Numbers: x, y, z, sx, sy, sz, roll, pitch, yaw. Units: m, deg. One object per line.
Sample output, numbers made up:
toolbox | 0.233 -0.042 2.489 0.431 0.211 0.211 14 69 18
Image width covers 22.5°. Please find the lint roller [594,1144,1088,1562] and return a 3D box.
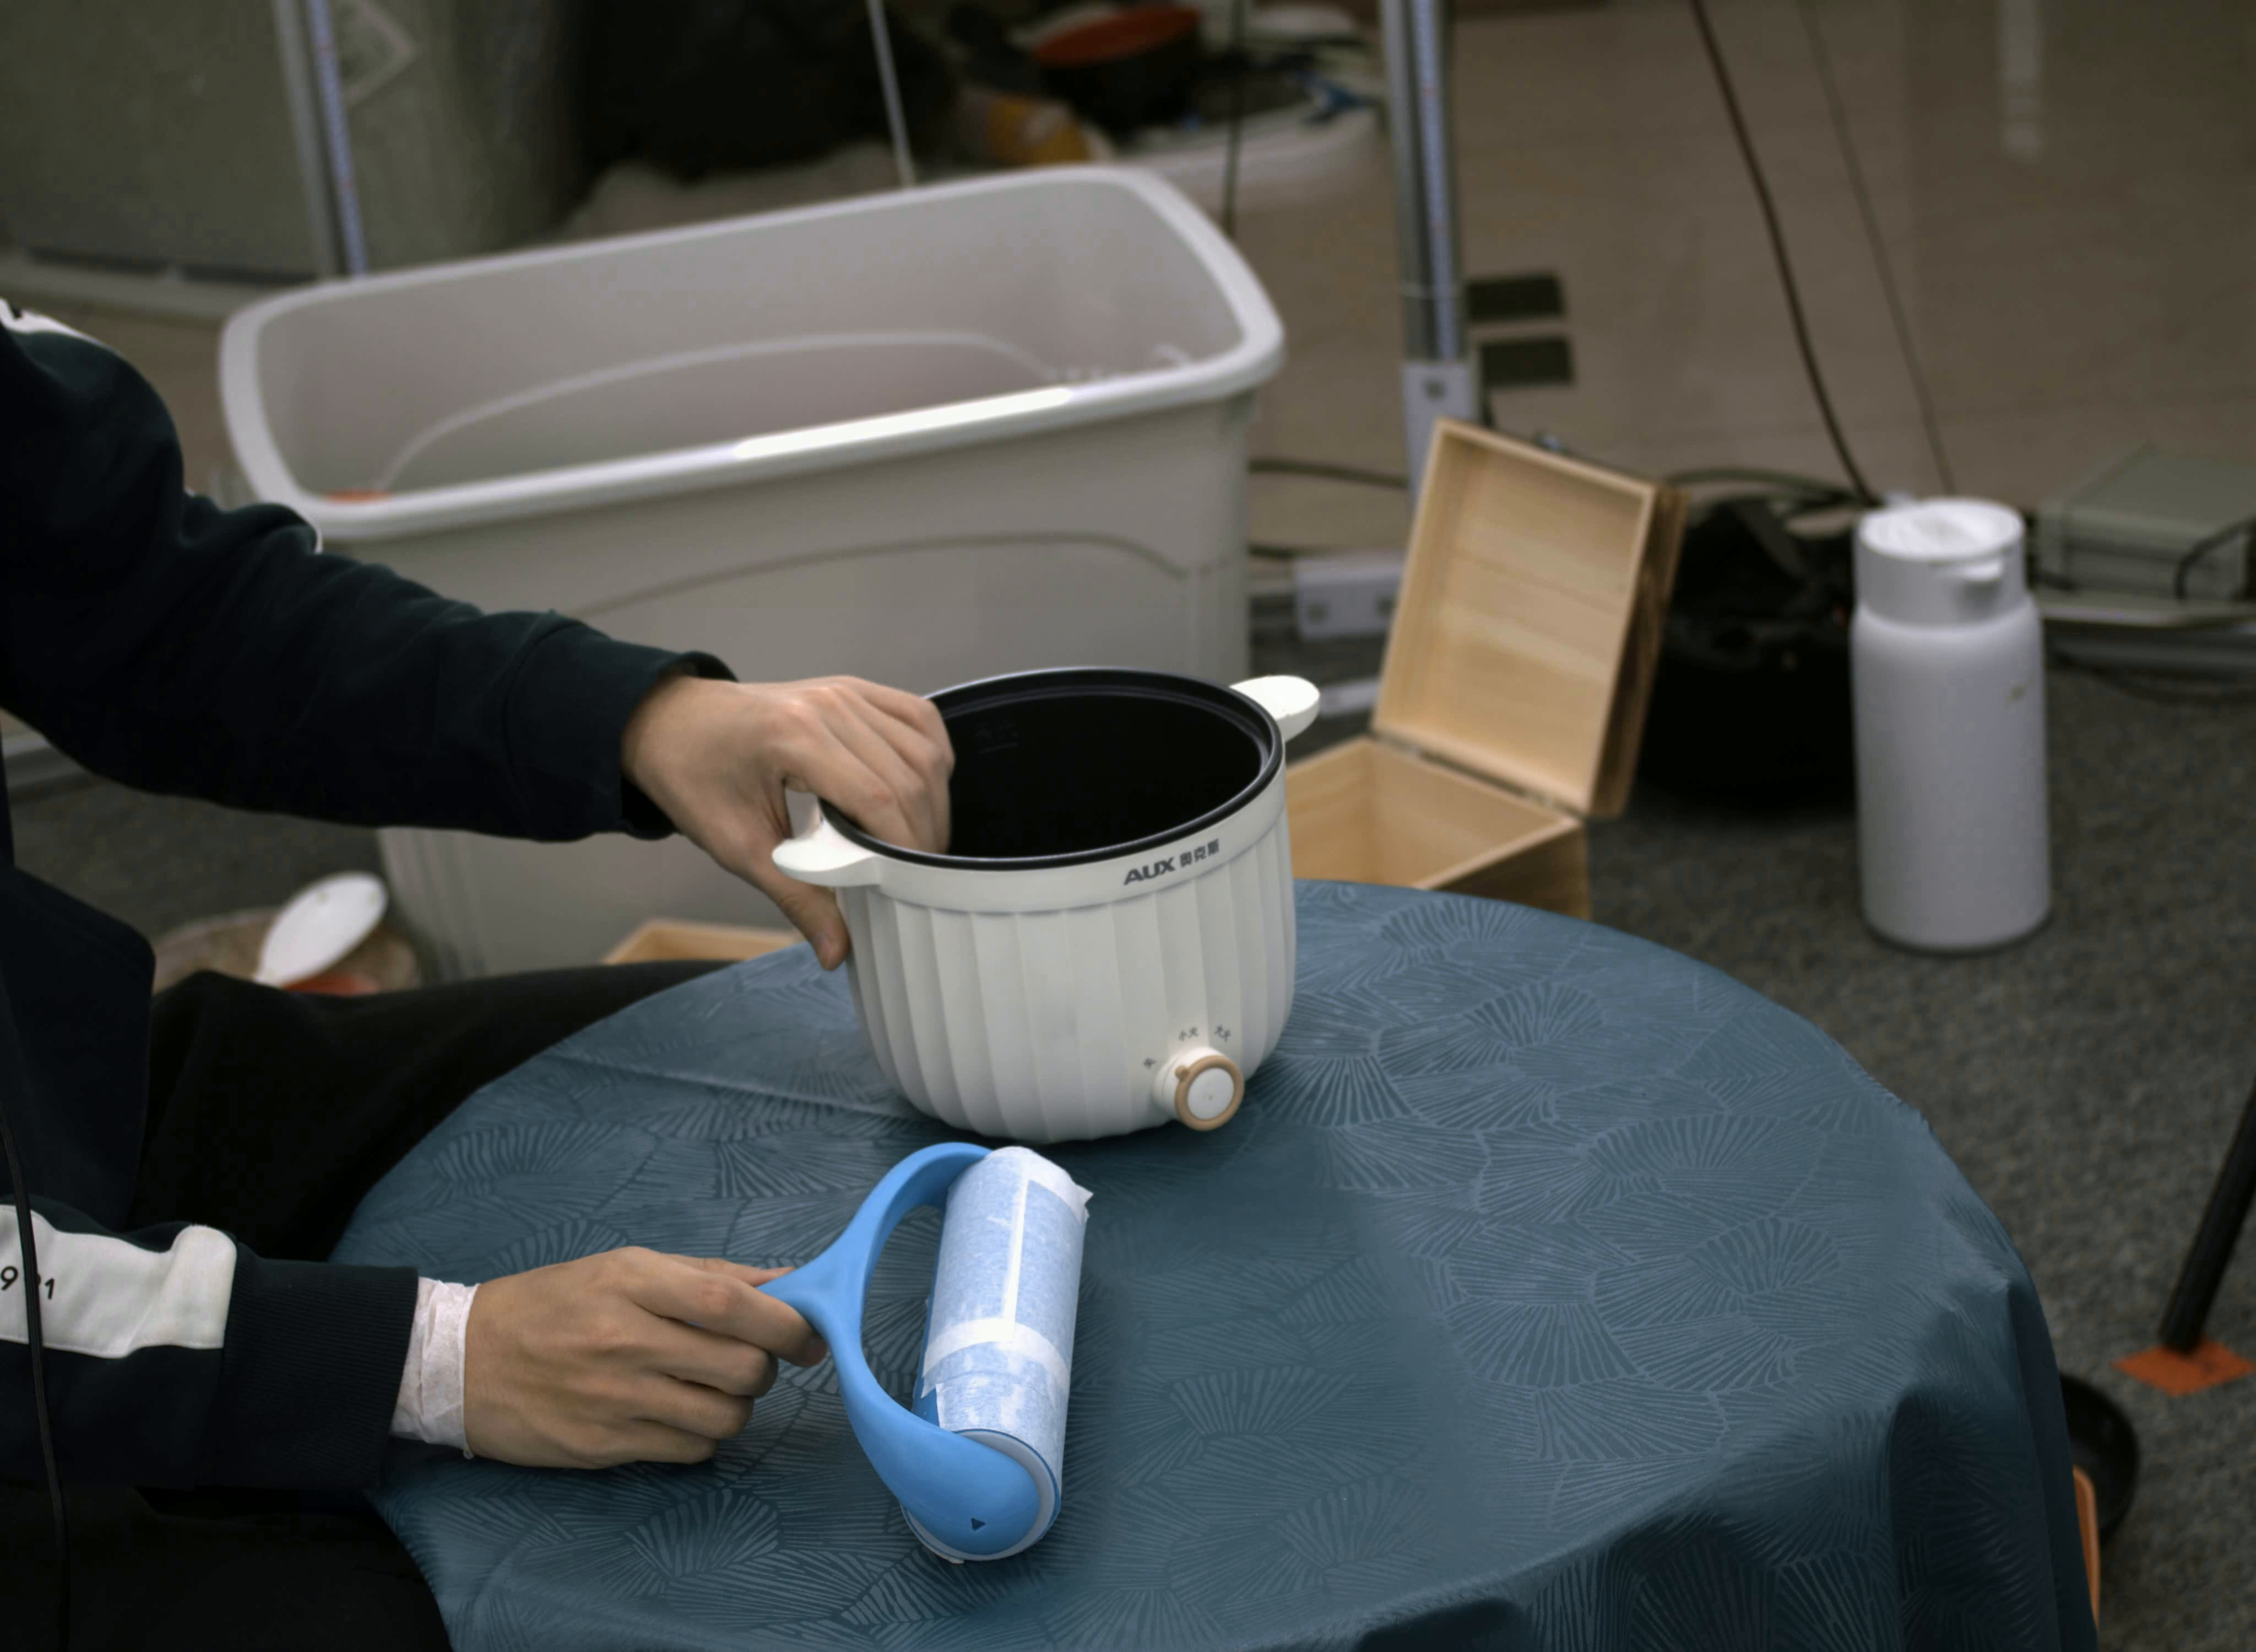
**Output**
lint roller | -0.102 0.188 1.997 0.180 0.069 0.225 -5 27 1

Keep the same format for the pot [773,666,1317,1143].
pot | -0.019 0.035 2.204 0.239 0.145 0.188 -21 26 -25
